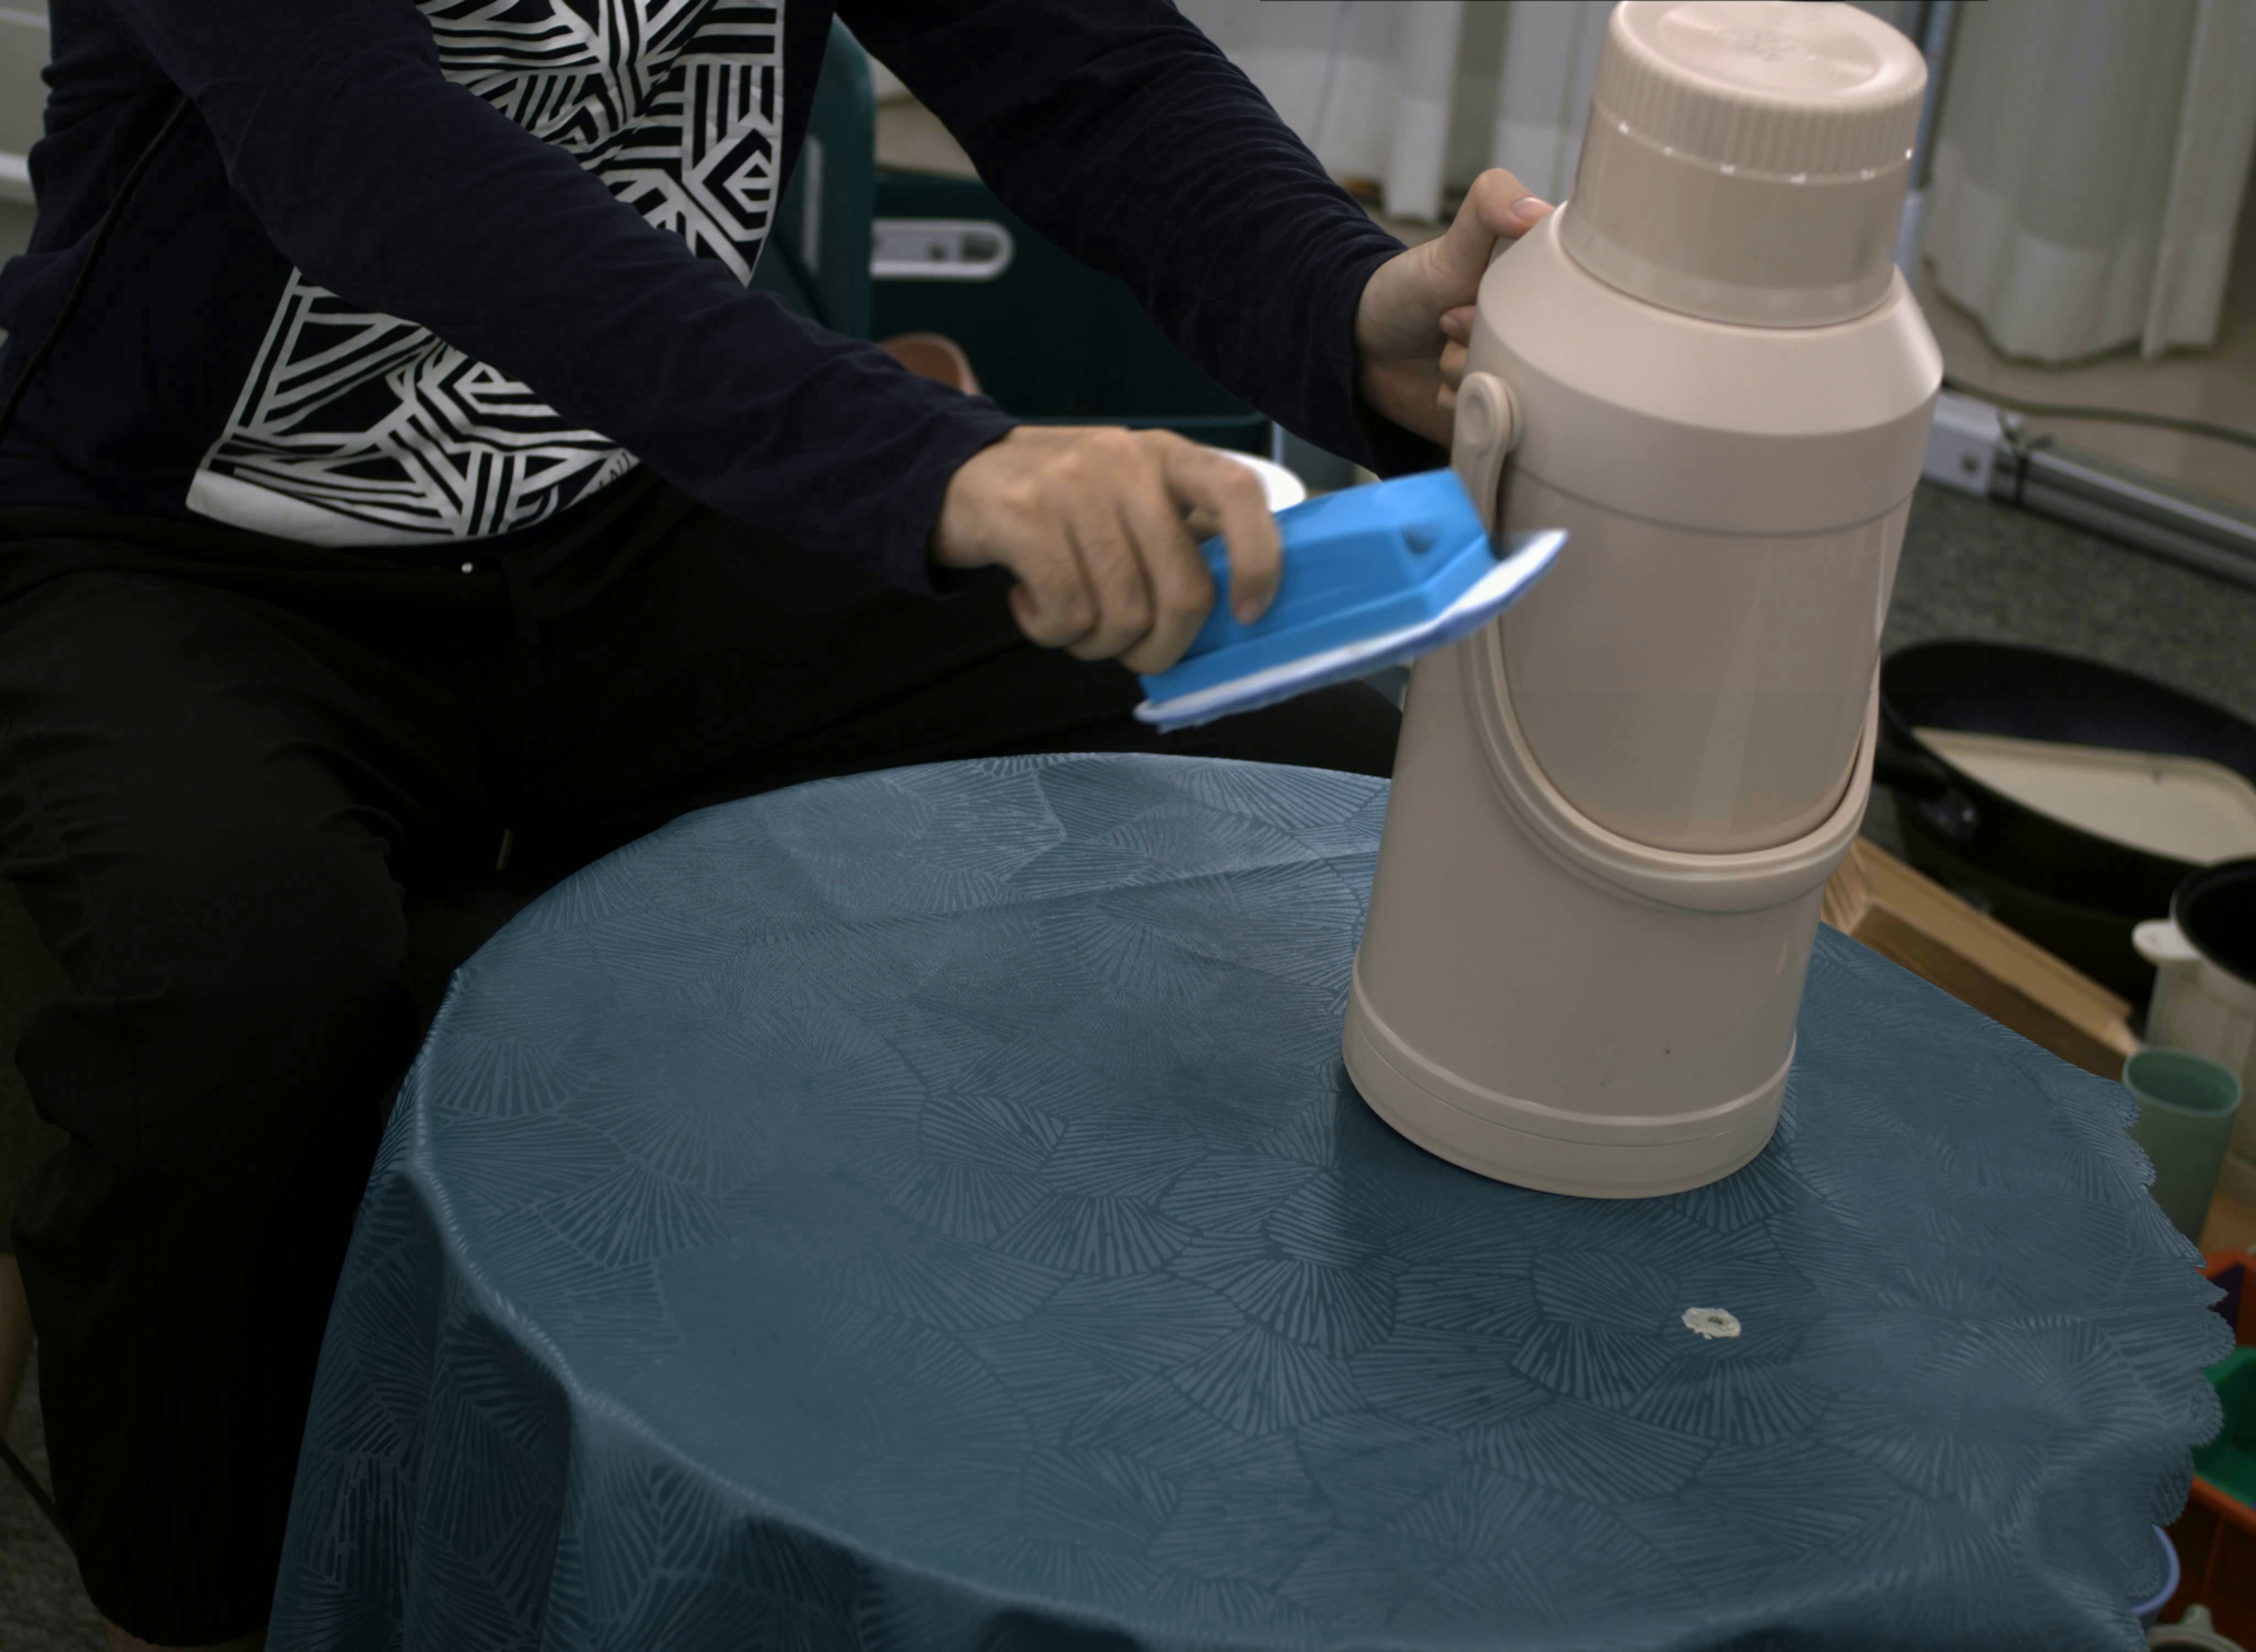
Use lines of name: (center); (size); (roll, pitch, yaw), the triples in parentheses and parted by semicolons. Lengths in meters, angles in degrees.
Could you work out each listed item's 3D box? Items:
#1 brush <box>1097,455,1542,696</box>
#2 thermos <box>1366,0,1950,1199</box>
brush: (0.055, -0.083, 1.676); (0.144, 0.056, 0.083); (-14, 13, 41)
thermos: (0.178, -0.089, 1.816); (0.174, 0.405, 0.209); (-10, 33, -27)
